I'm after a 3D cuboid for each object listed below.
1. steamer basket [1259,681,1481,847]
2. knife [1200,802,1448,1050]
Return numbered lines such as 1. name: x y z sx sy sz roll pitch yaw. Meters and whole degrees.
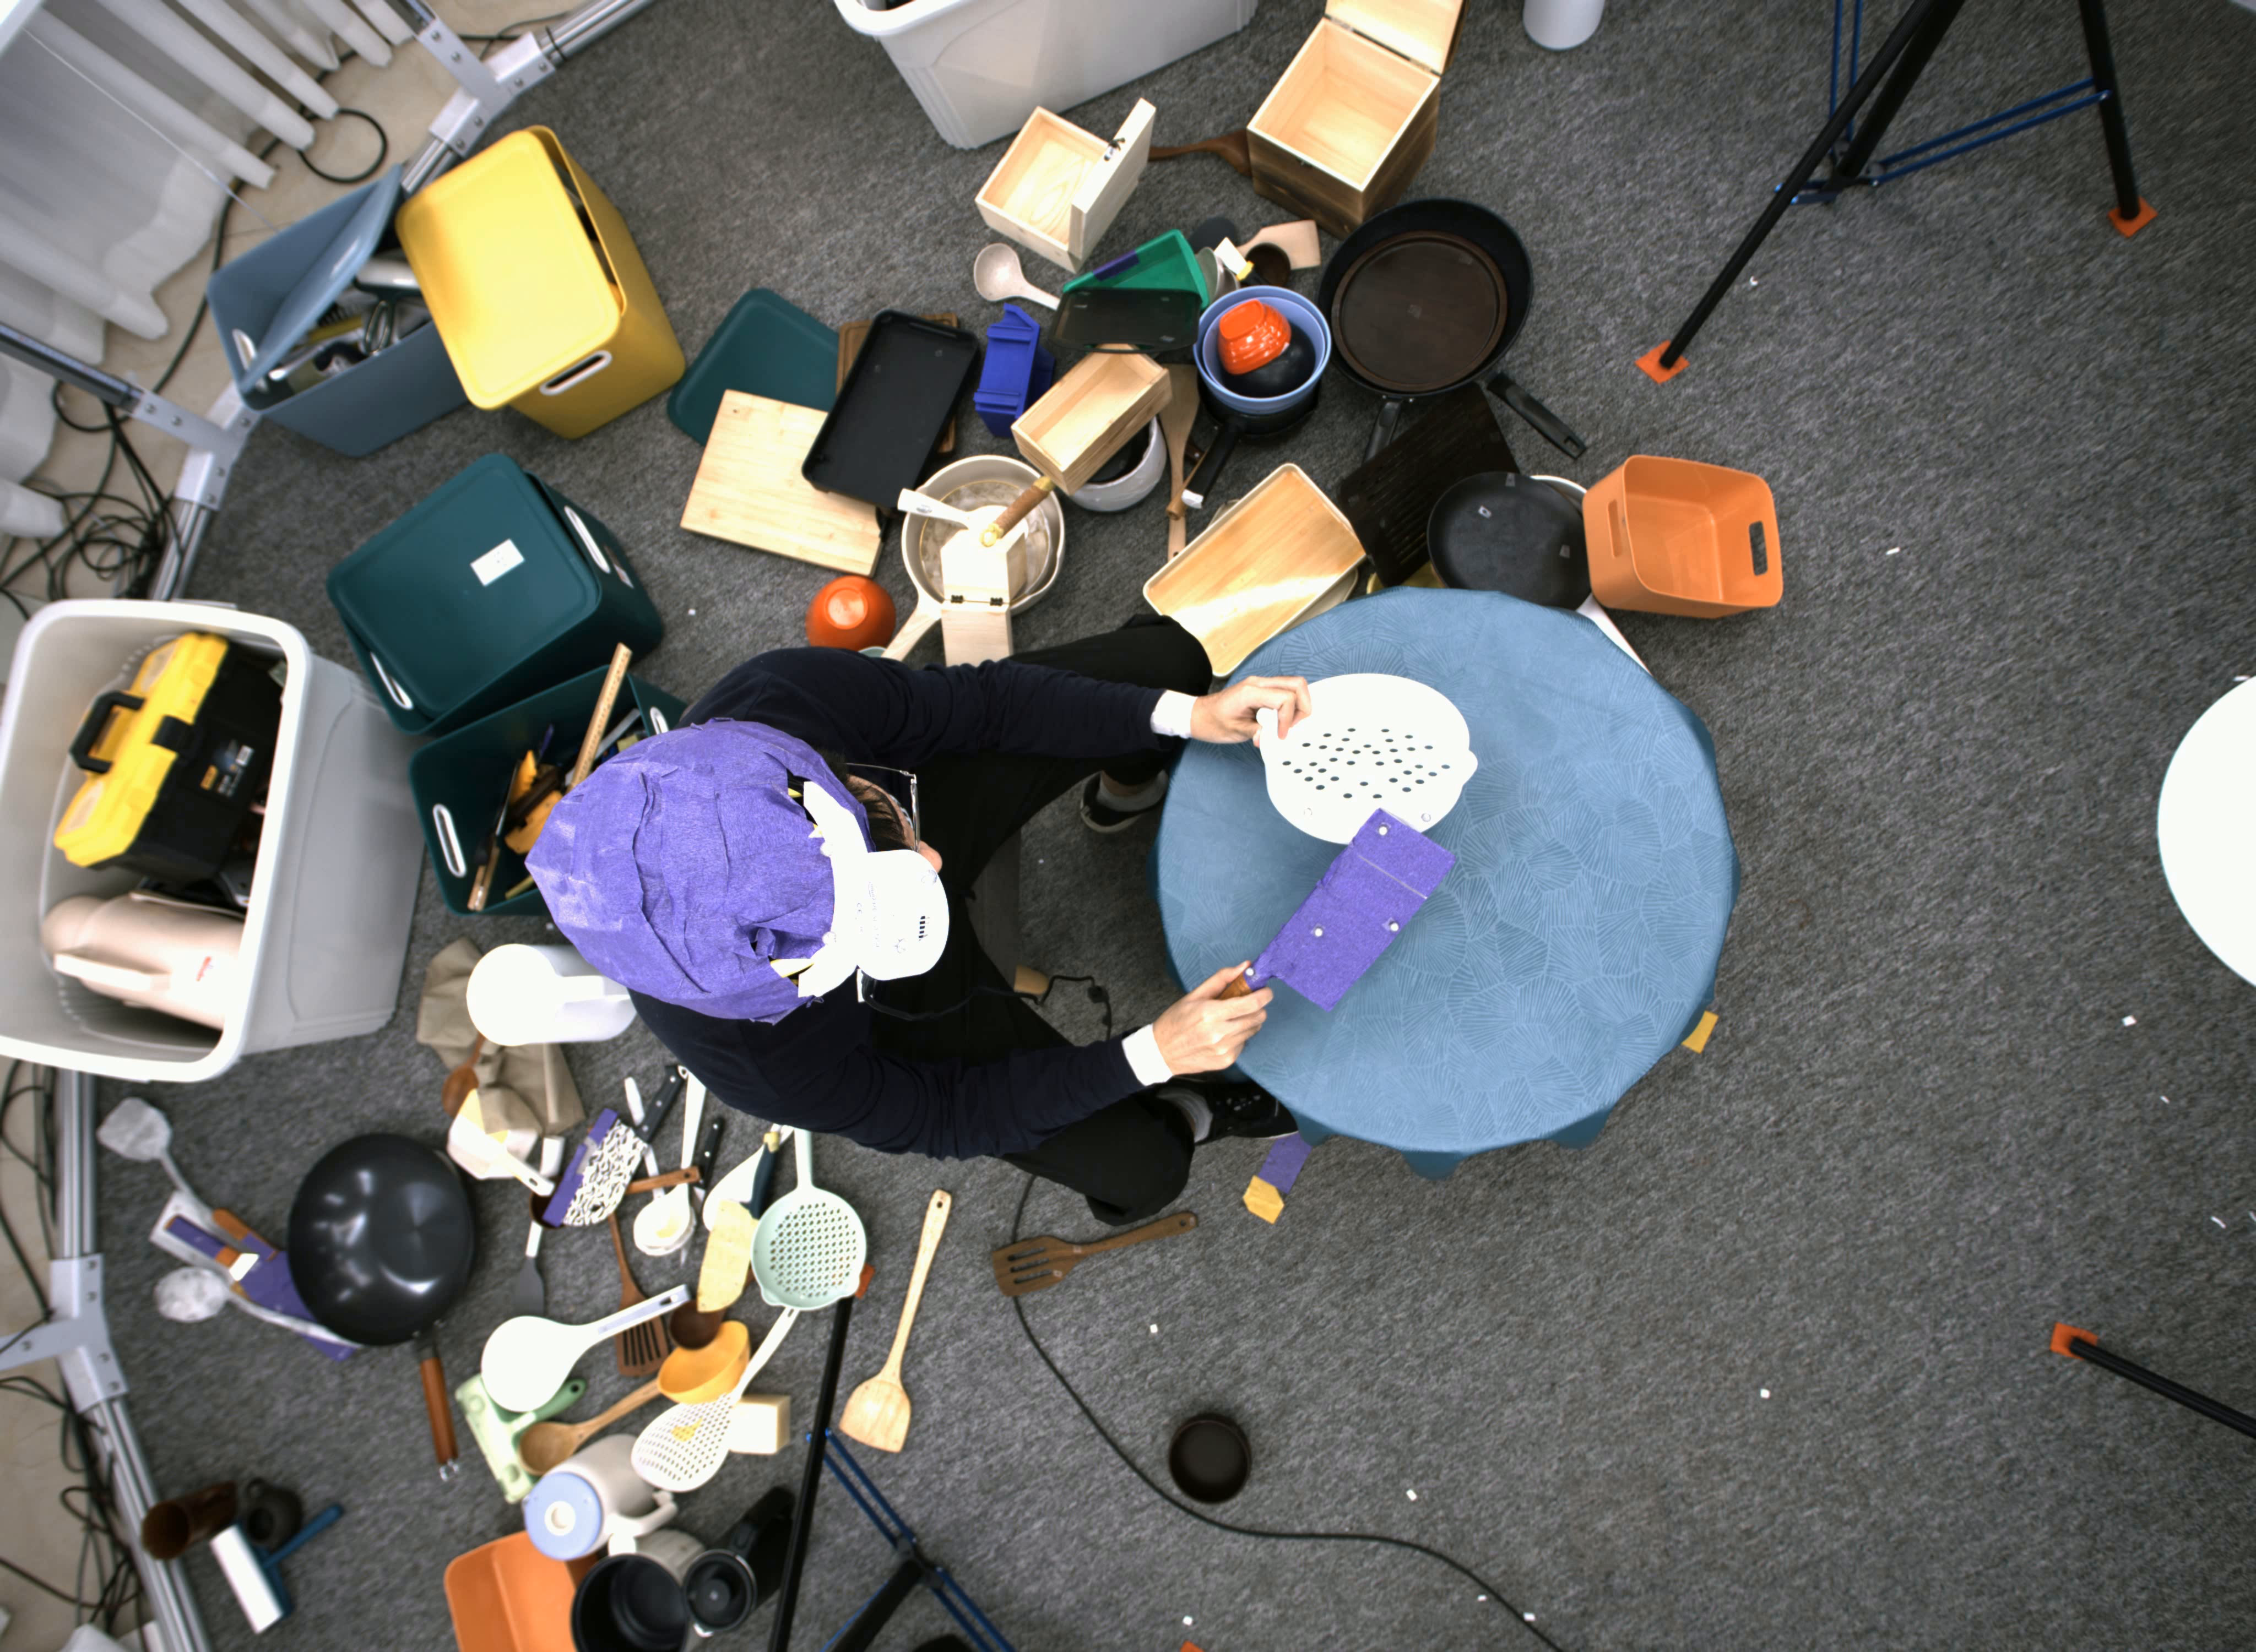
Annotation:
1. steamer basket: 0.236 -0.062 1.354 0.230 0.071 0.198 24 52 35
2. knife: 0.187 0.119 1.339 0.104 0.031 0.322 33 120 -2
